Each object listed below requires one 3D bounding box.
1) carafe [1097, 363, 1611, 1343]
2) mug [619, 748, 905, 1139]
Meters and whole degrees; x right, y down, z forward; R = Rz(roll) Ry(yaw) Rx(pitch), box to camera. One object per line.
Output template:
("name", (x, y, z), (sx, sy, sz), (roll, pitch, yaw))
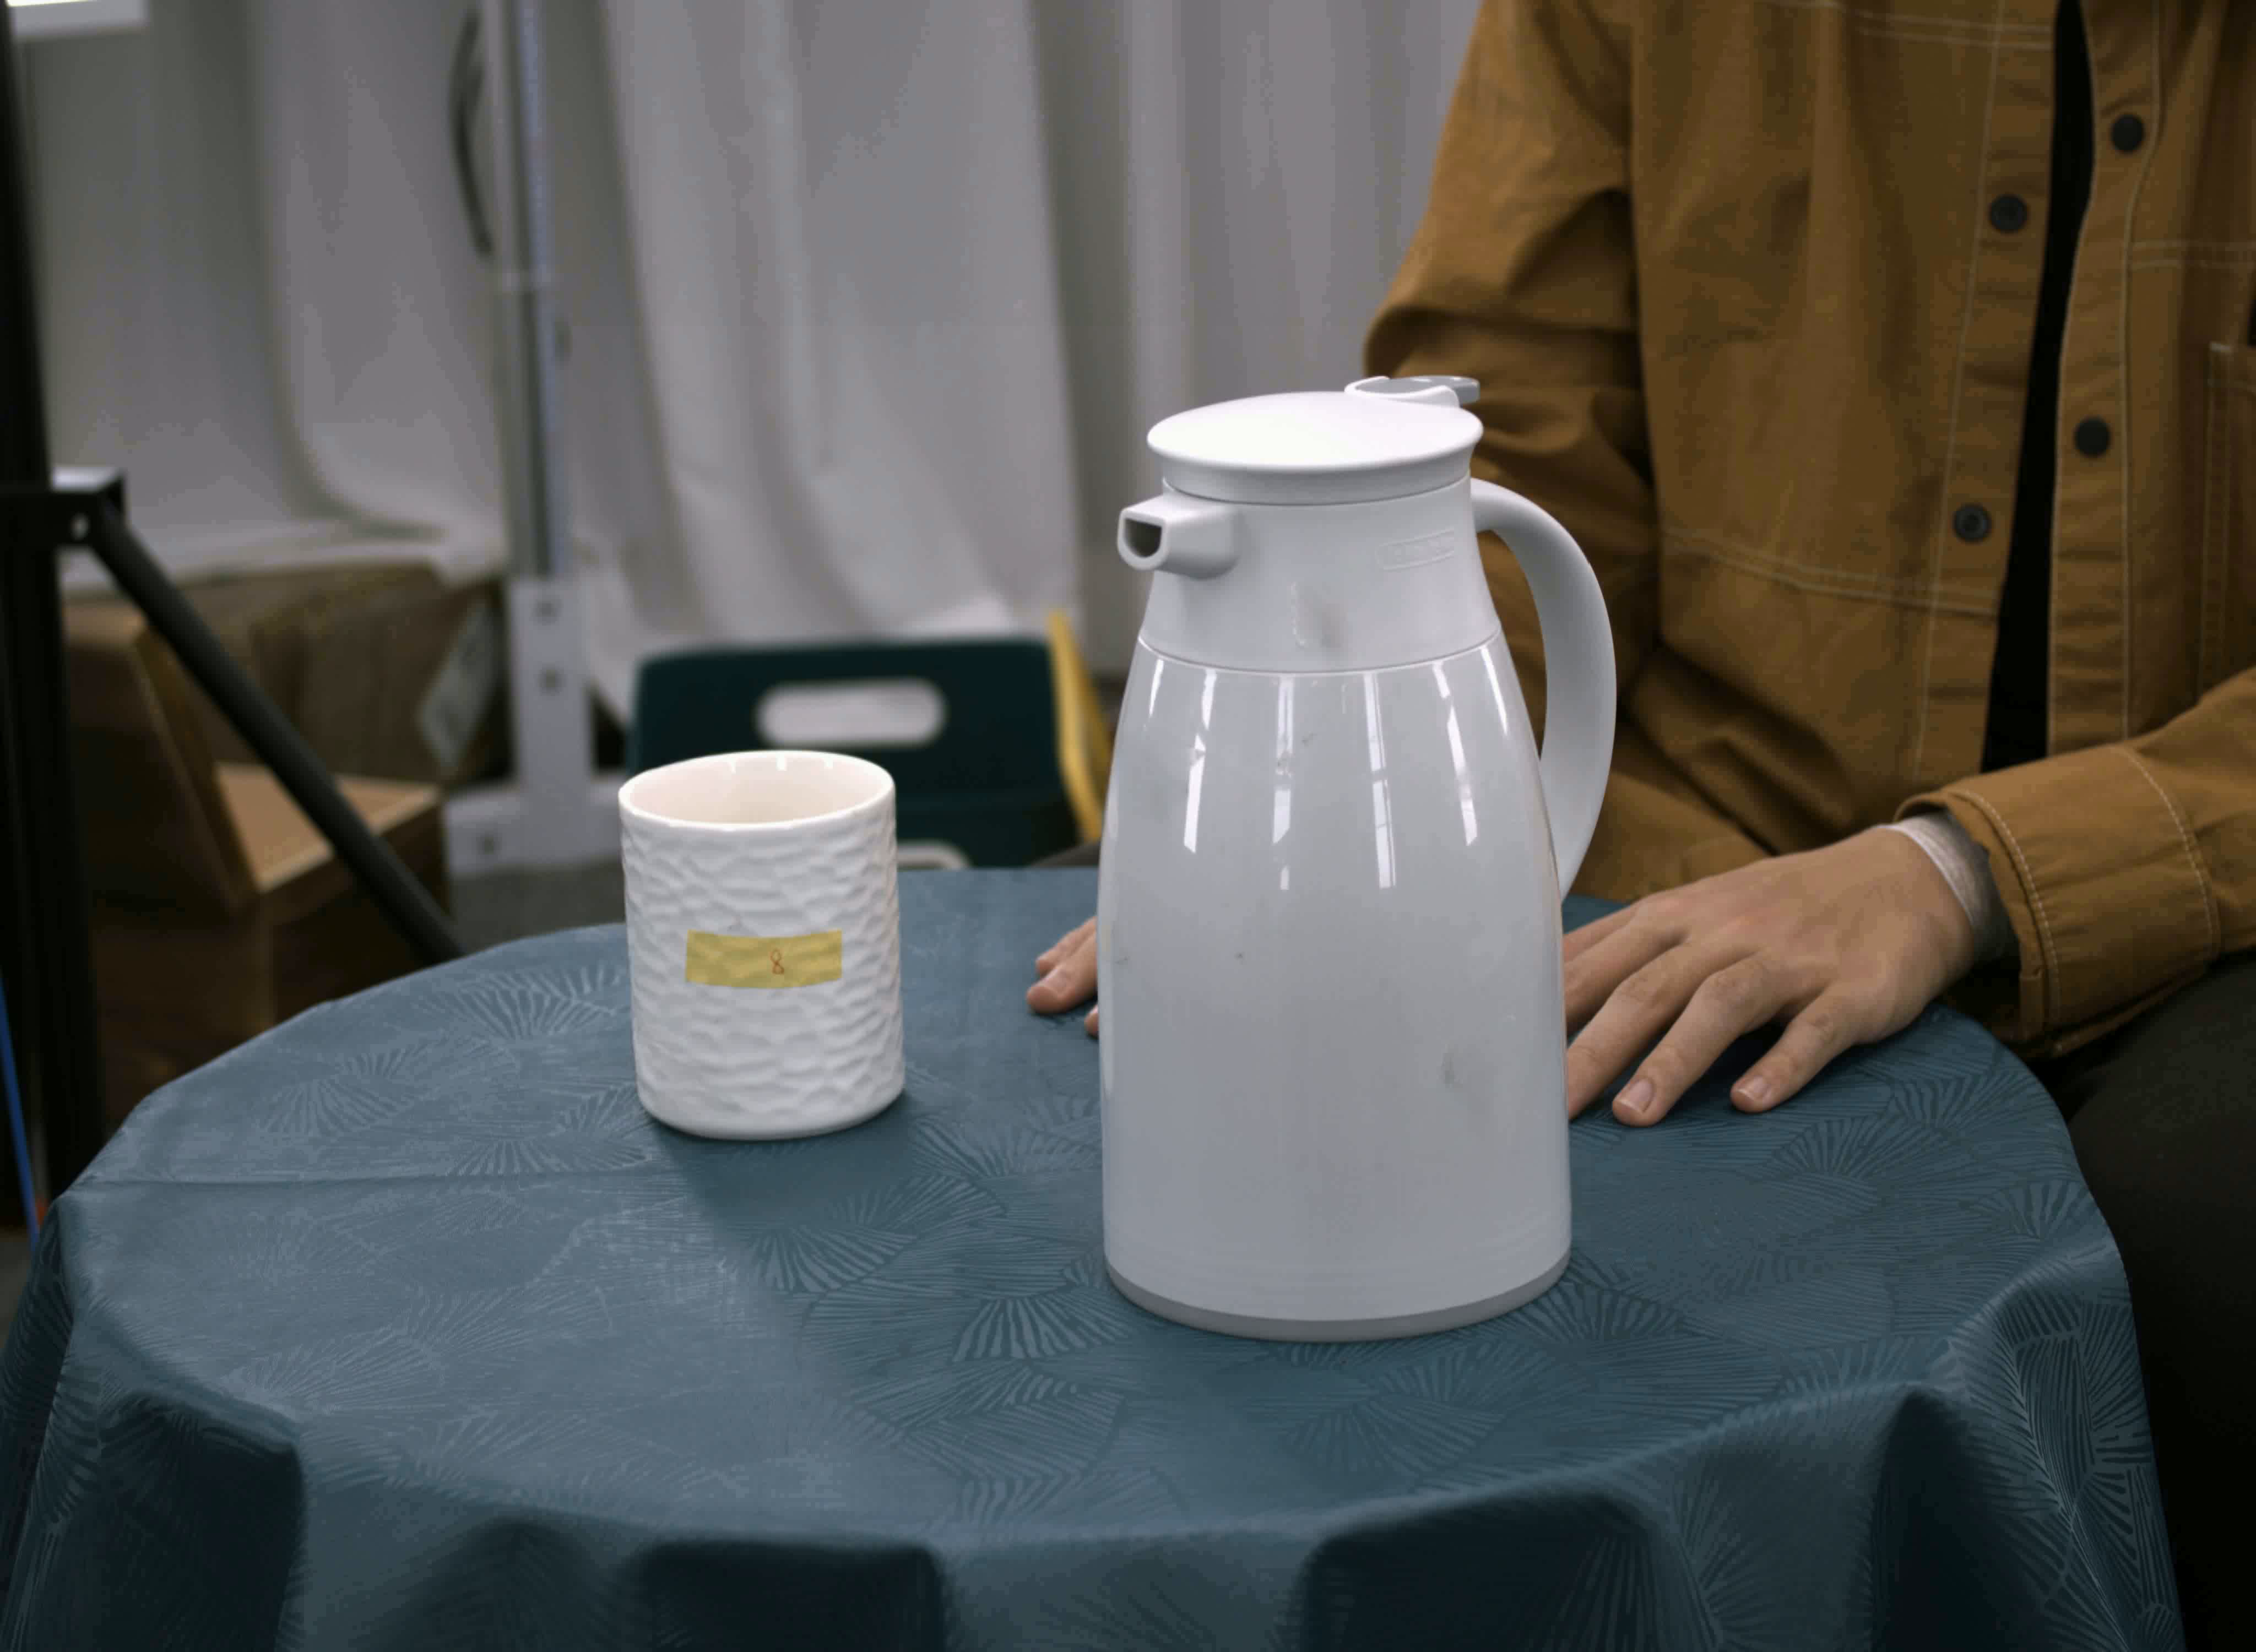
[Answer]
("carafe", (0.069, -0.001, 1.473), (0.164, 0.248, 0.135), (-14, 18, -38))
("mug", (-0.107, 0.032, 1.654), (0.086, 0.102, 0.117), (3, 16, 18))
